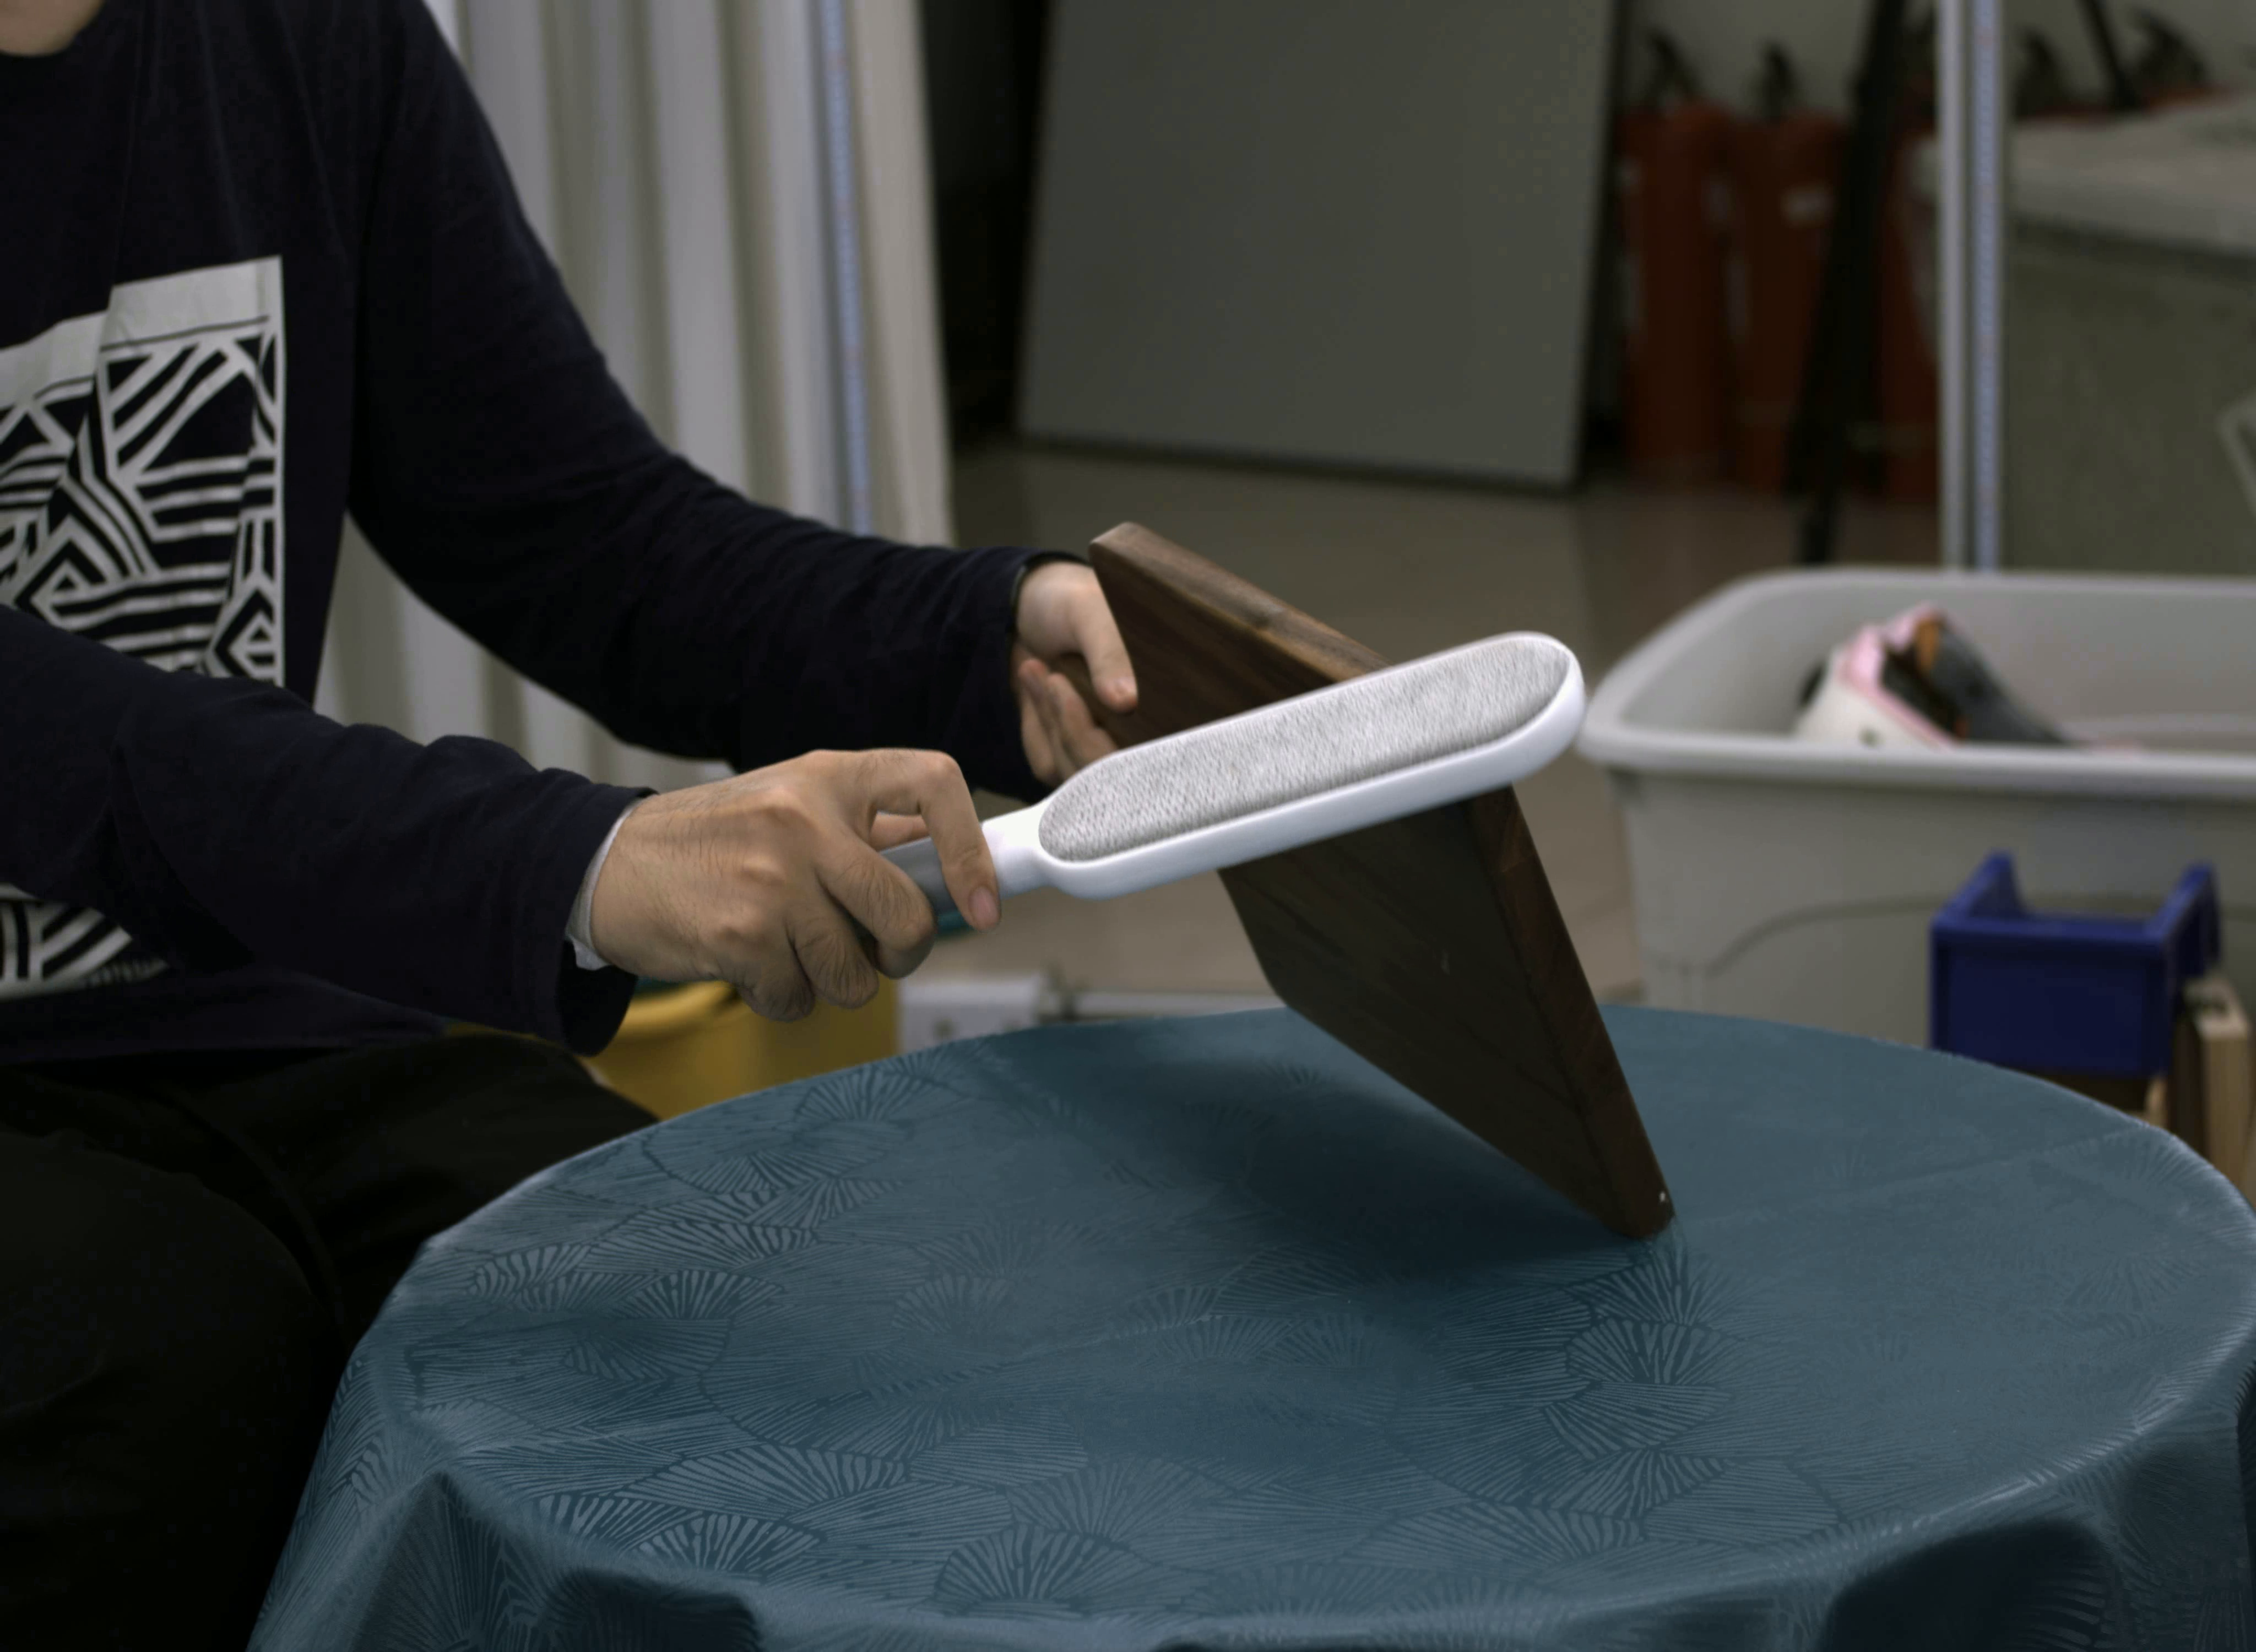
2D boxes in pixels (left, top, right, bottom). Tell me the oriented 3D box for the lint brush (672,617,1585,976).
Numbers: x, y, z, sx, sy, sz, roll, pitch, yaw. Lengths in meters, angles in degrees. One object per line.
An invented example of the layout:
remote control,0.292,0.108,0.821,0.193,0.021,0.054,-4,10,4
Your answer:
lint brush,-0.004,-0.004,1.630,0.309,0.021,0.060,-17,40,23

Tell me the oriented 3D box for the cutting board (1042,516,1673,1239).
cutting board,0.057,0.000,1.798,0.023,0.201,0.356,-31,27,-15
